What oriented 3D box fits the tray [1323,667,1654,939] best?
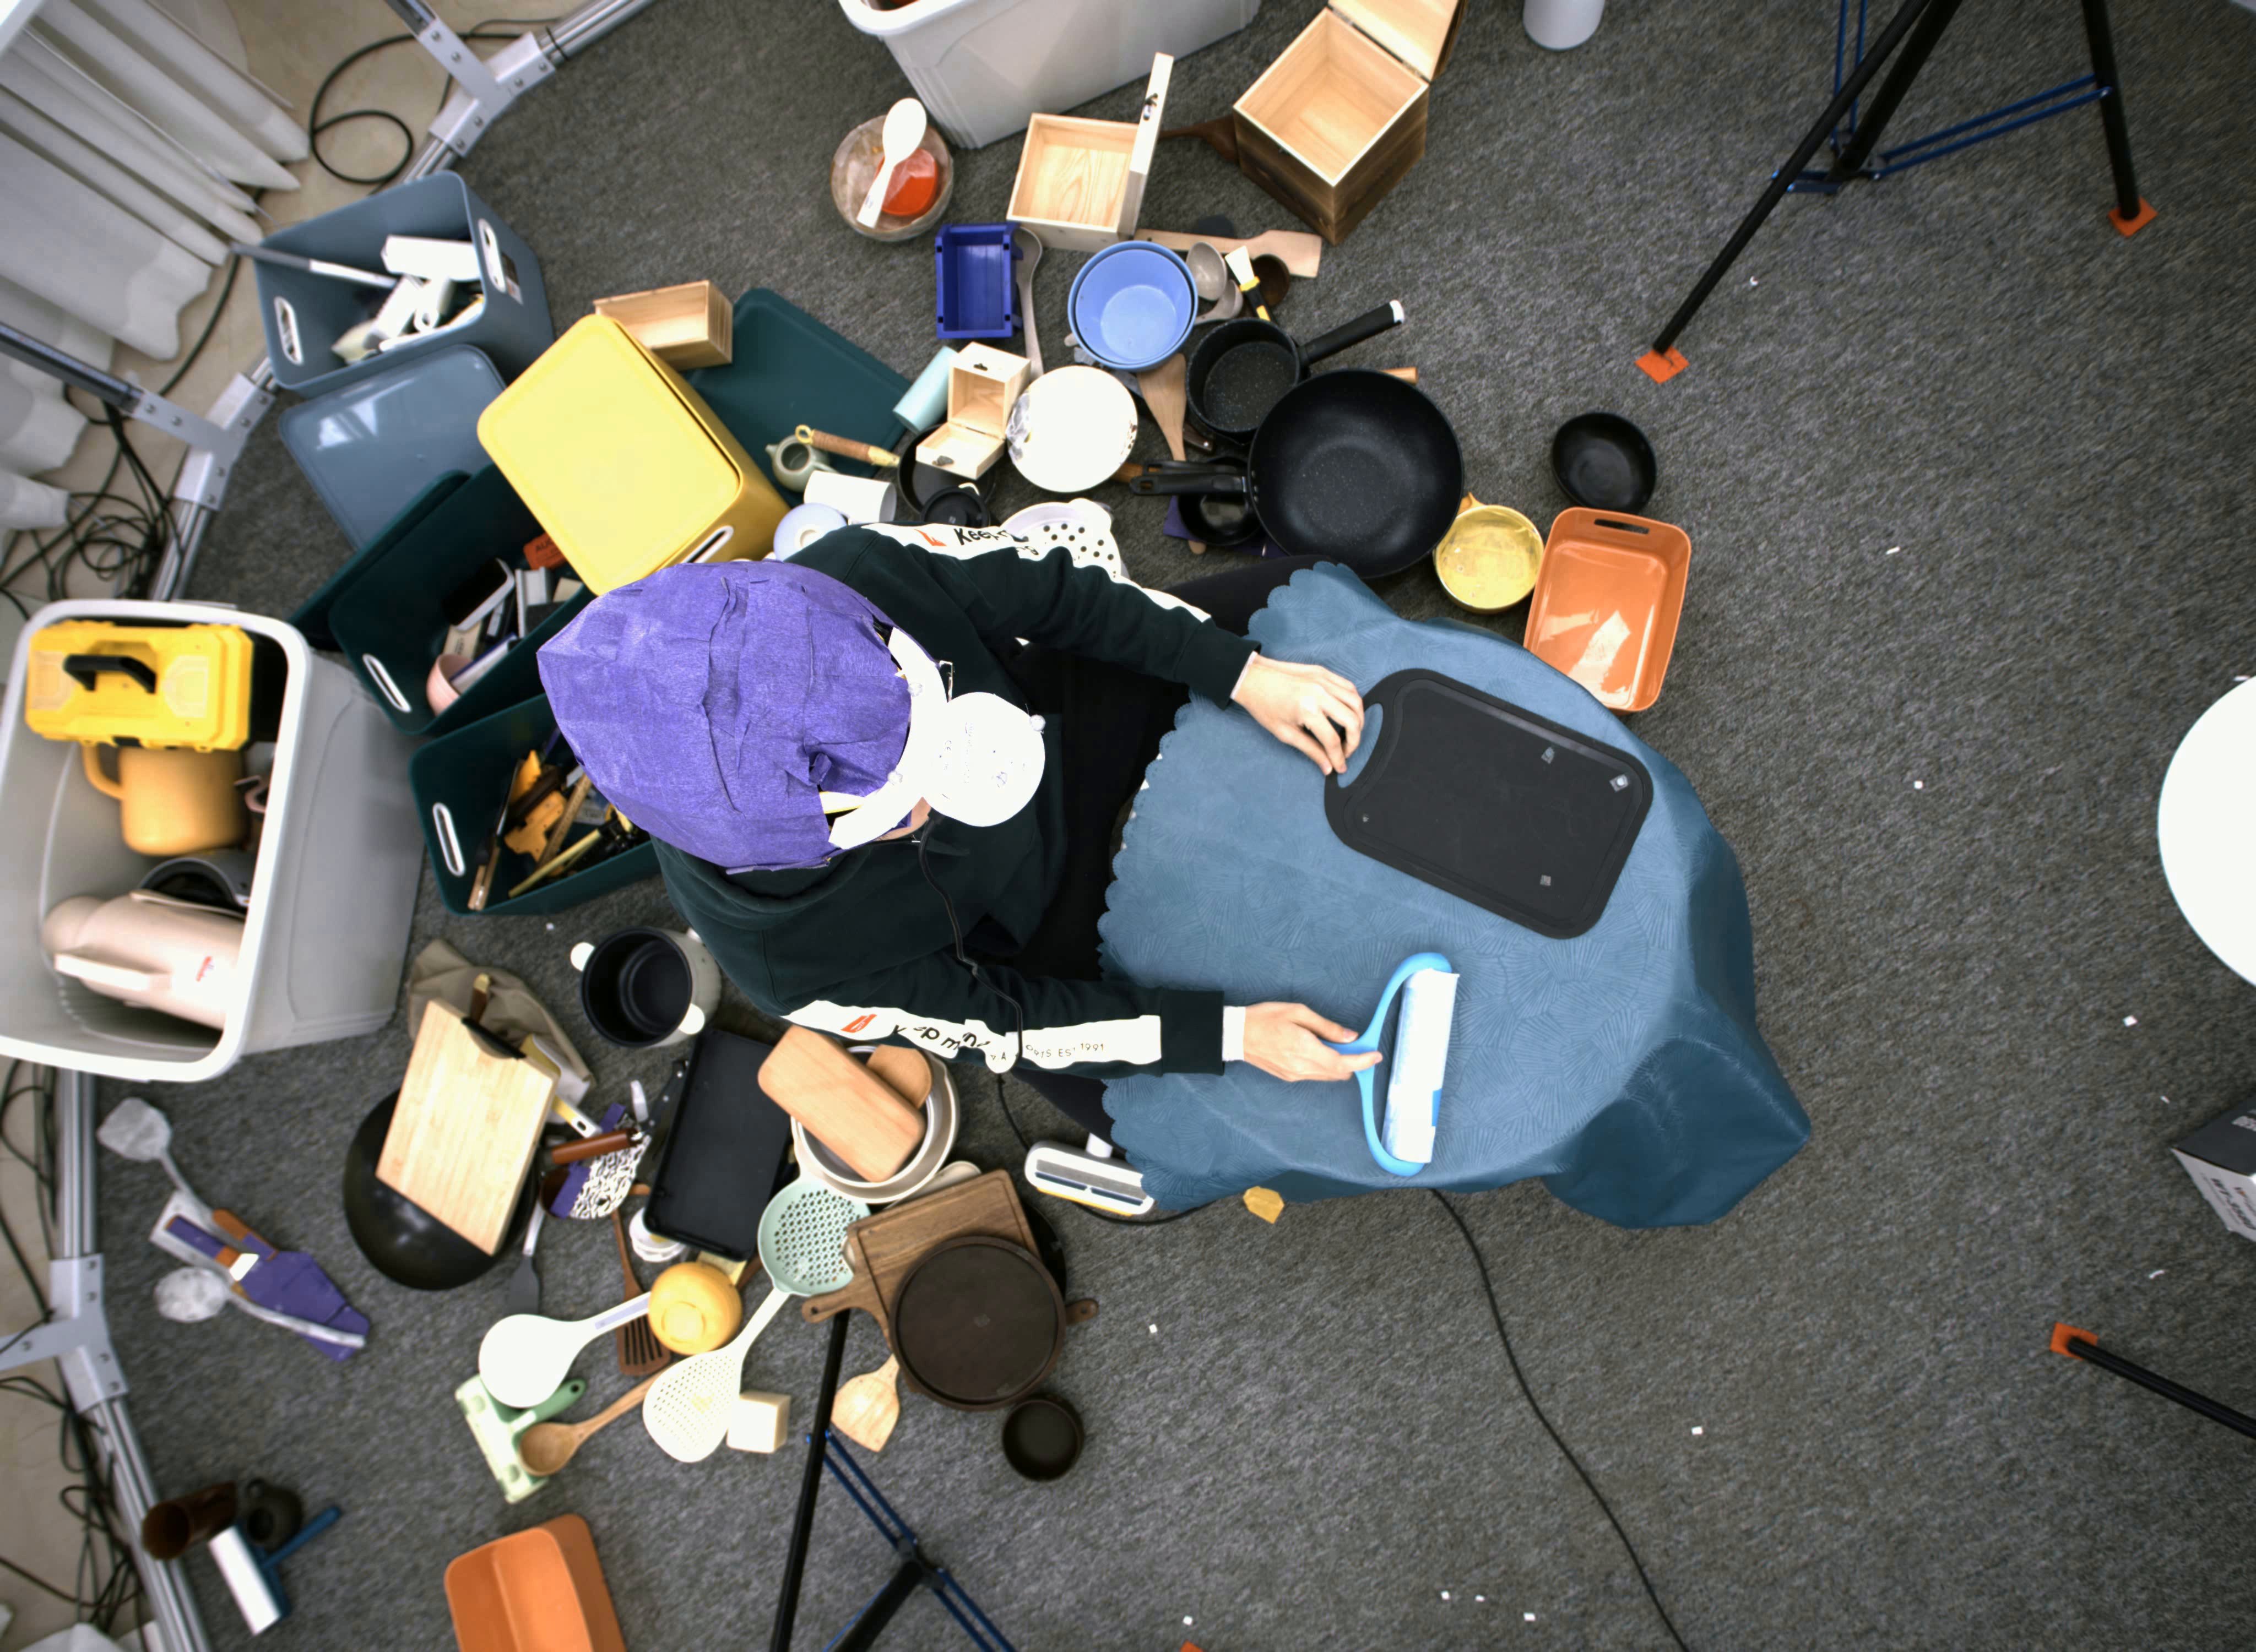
[{"bbox_3d":[0.368,-0.032,1.439,0.325,0.010,0.211,25,92,11],"label":"tray"}]

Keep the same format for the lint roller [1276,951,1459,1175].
[{"bbox_3d":[0.241,0.235,1.424,0.181,0.068,0.228,5,90,9],"label":"lint roller"}]
